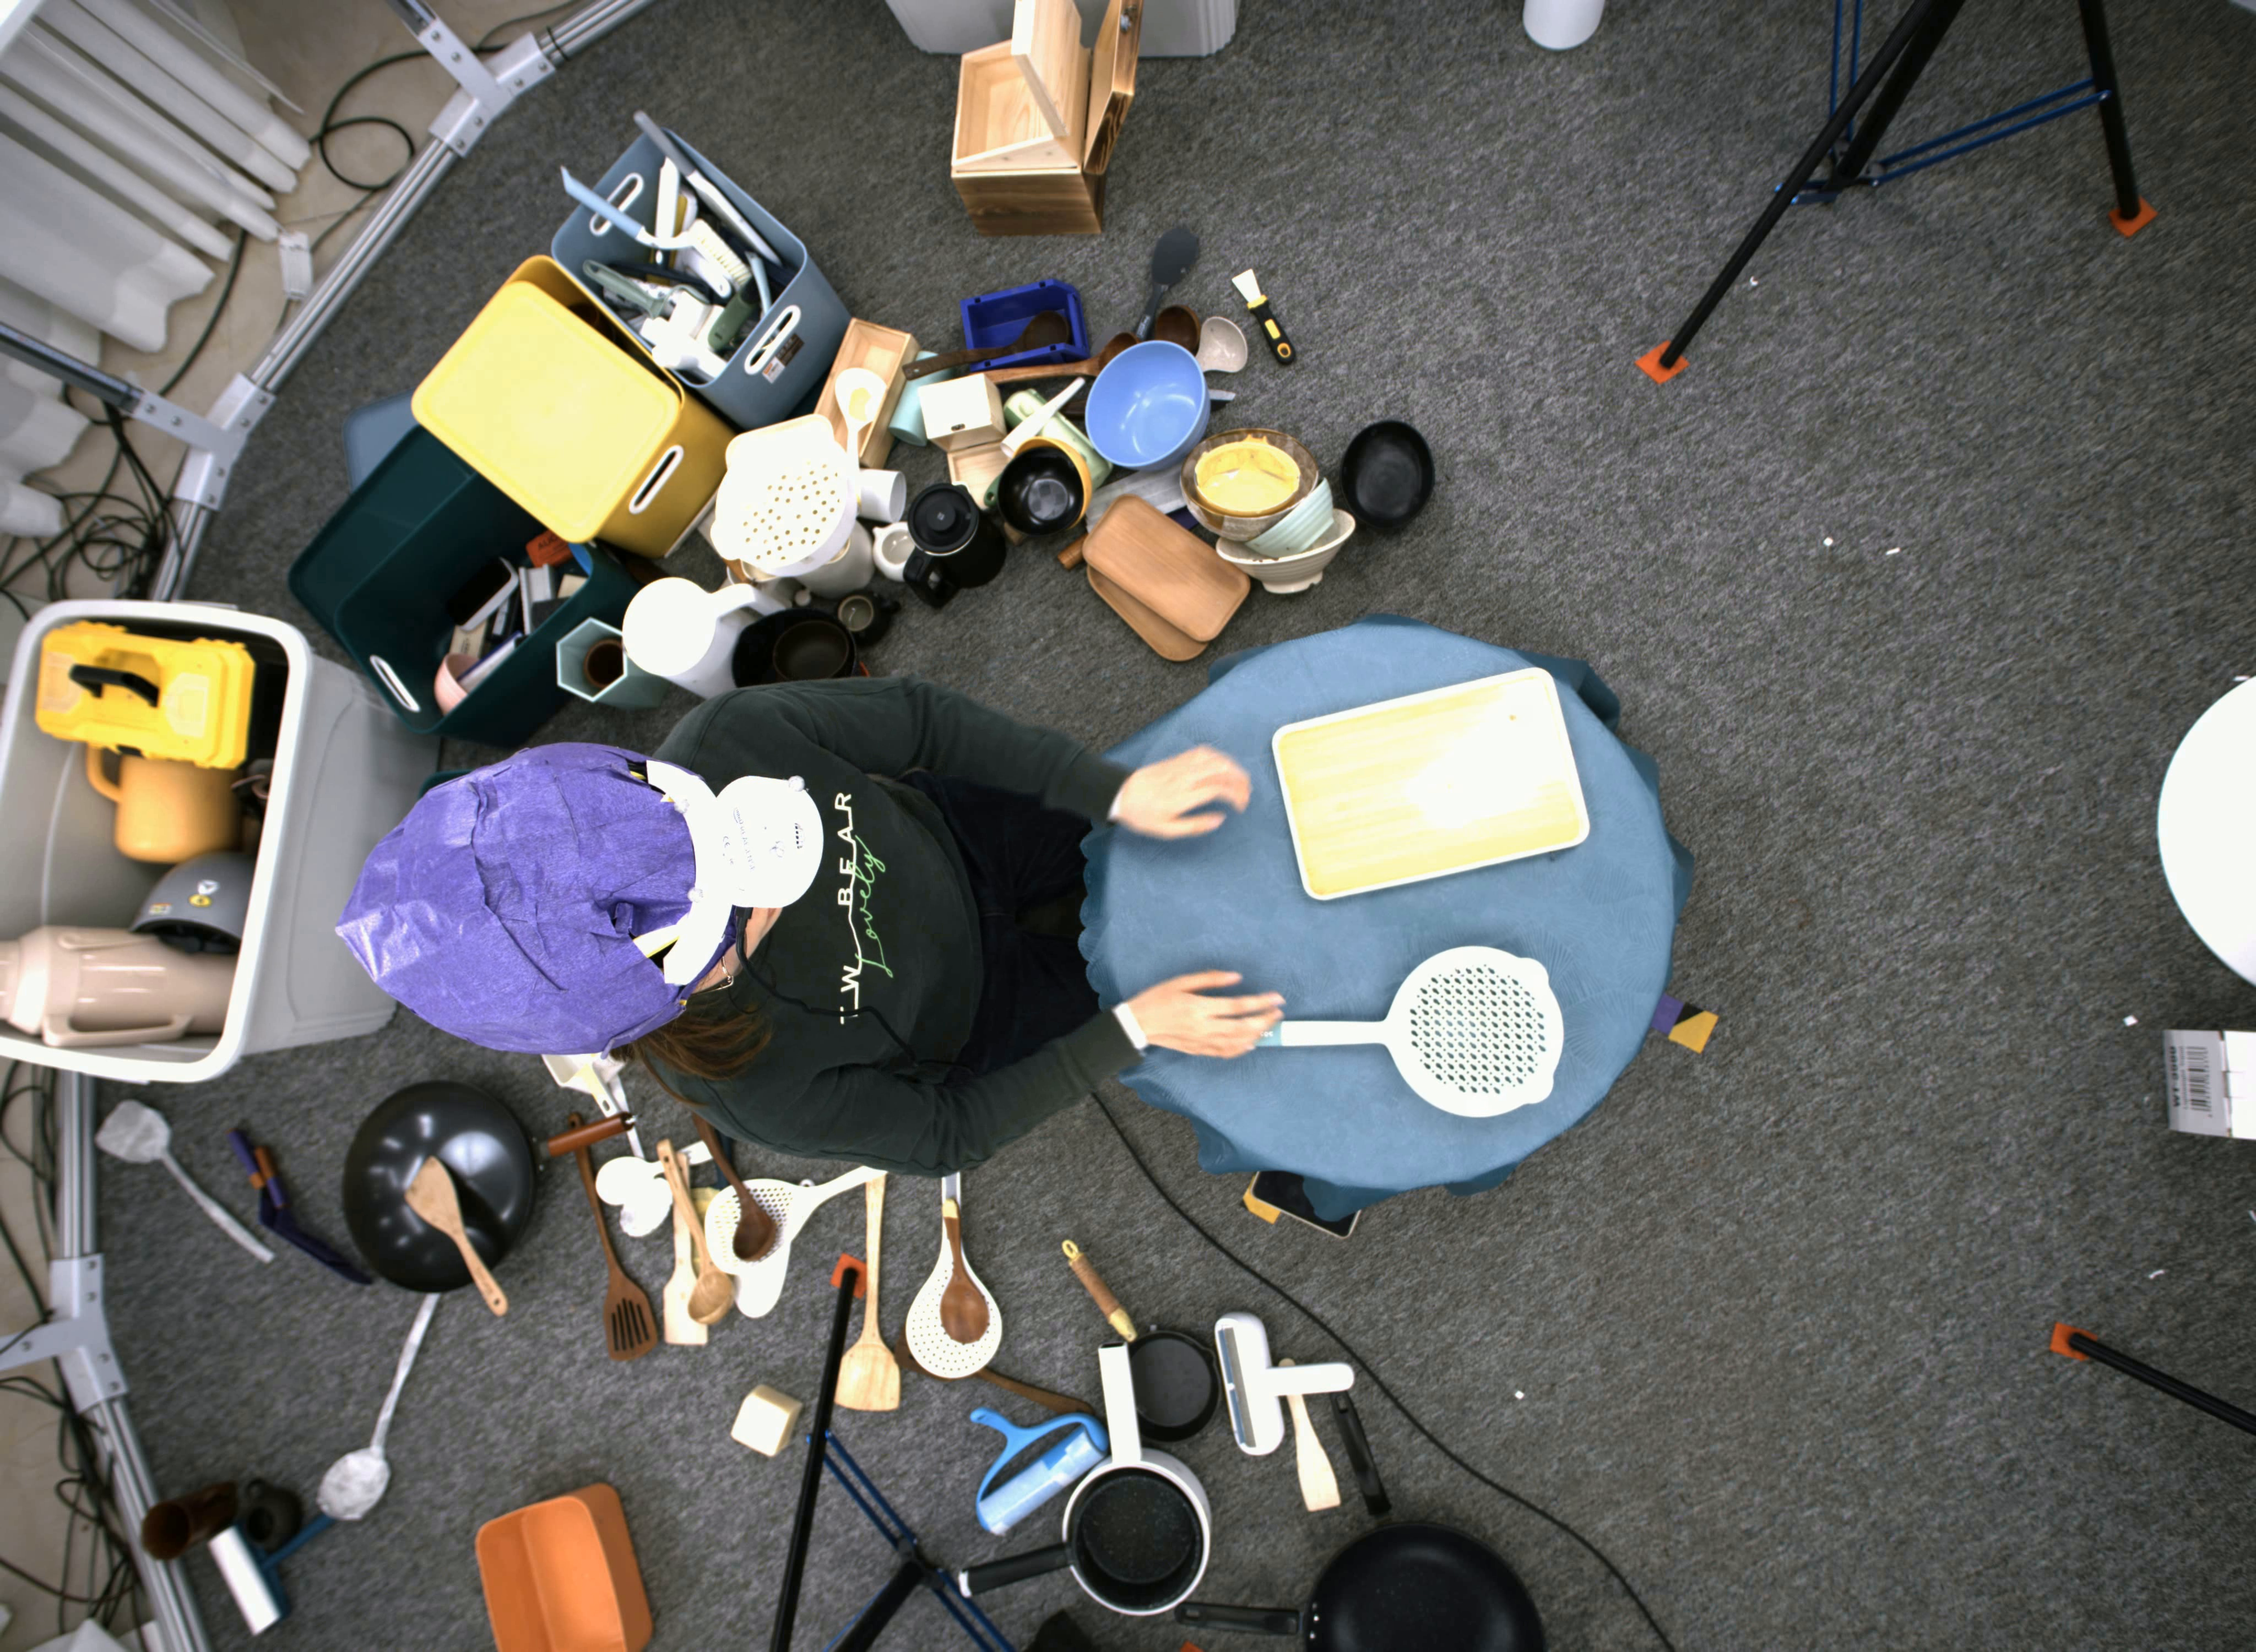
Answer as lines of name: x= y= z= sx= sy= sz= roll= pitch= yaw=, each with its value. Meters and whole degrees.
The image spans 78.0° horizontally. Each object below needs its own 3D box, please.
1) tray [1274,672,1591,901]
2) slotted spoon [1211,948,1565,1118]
tray: x=0.318 y=-0.042 z=1.451 sx=0.302 sy=0.027 sz=0.190 roll=-13 pitch=84 yaw=9
slotted spoon: x=0.261 y=0.212 z=1.424 sx=0.360 sy=0.075 sz=0.168 roll=-2 pitch=84 yaw=10
